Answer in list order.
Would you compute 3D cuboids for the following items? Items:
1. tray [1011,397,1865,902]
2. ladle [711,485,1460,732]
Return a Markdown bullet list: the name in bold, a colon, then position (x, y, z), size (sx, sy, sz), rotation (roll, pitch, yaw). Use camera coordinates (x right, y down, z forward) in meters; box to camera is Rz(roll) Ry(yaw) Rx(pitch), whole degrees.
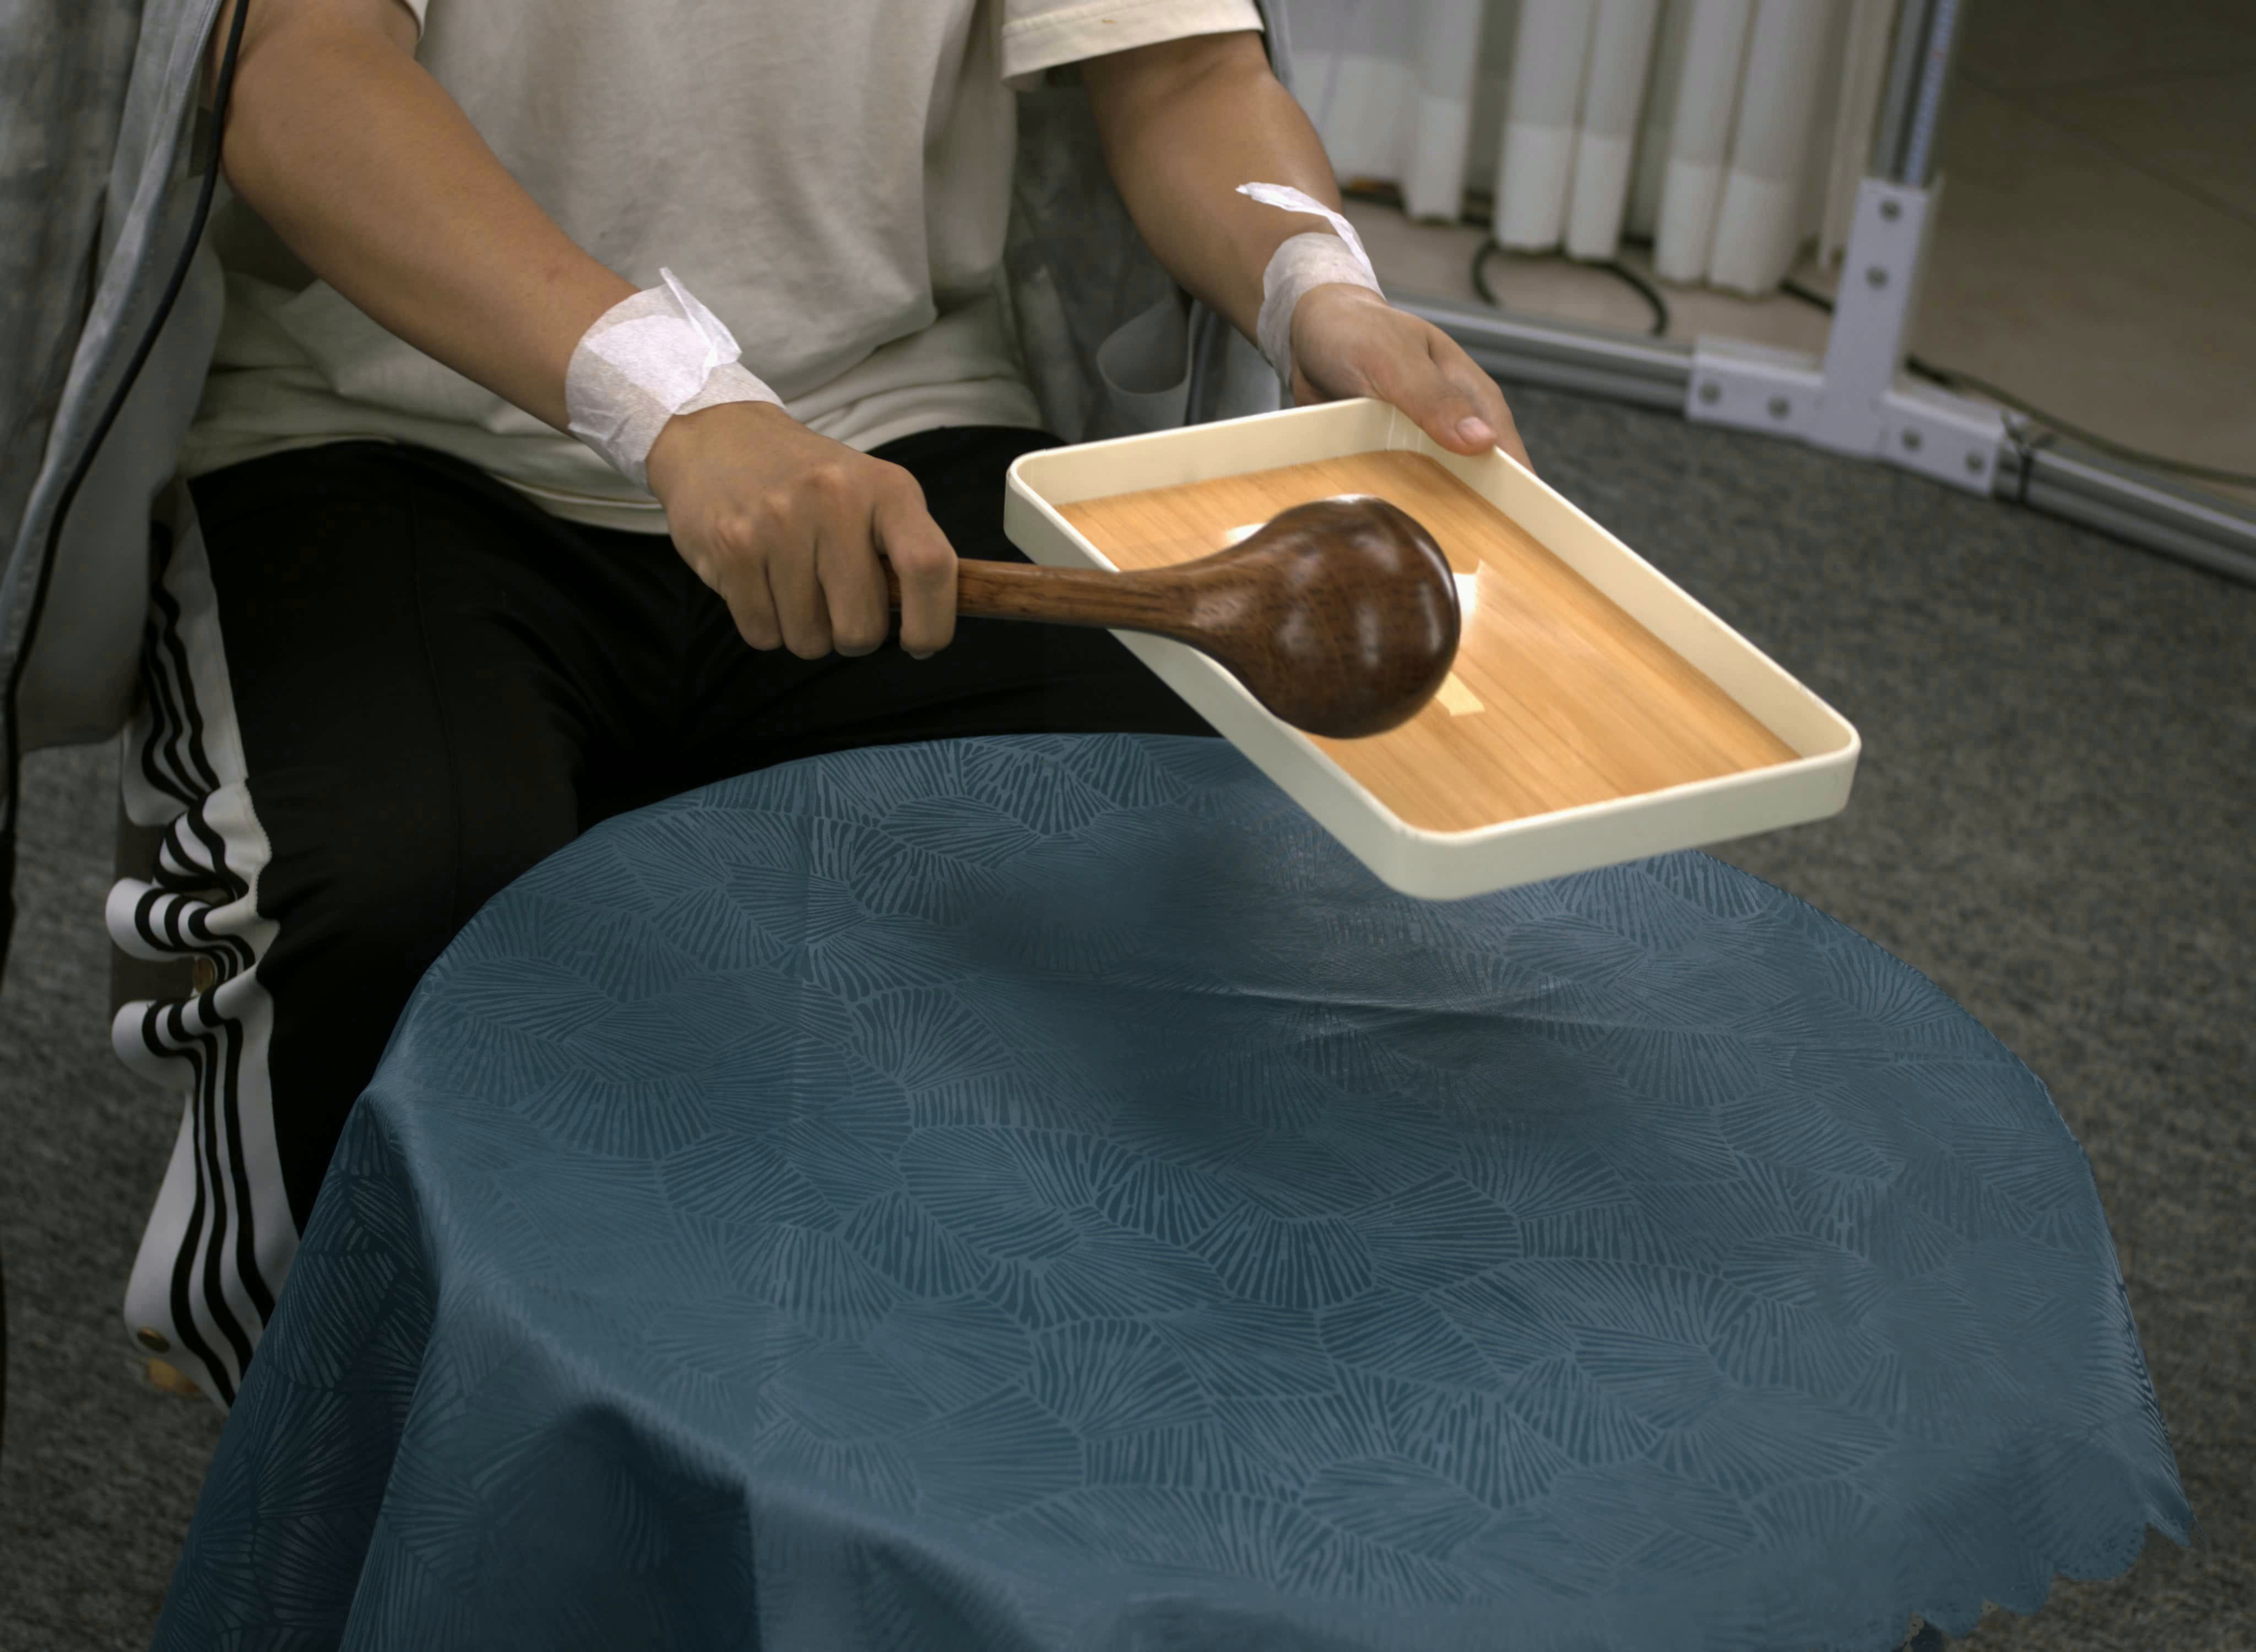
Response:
- **tray**: position (0.105, -0.069, 1.901), size (0.190, 0.027, 0.303), rotation (-12, 34, -27)
- **ladle**: position (-0.015, -0.079, 1.823), size (0.275, 0.082, 0.076), rotation (4, -7, 36)
